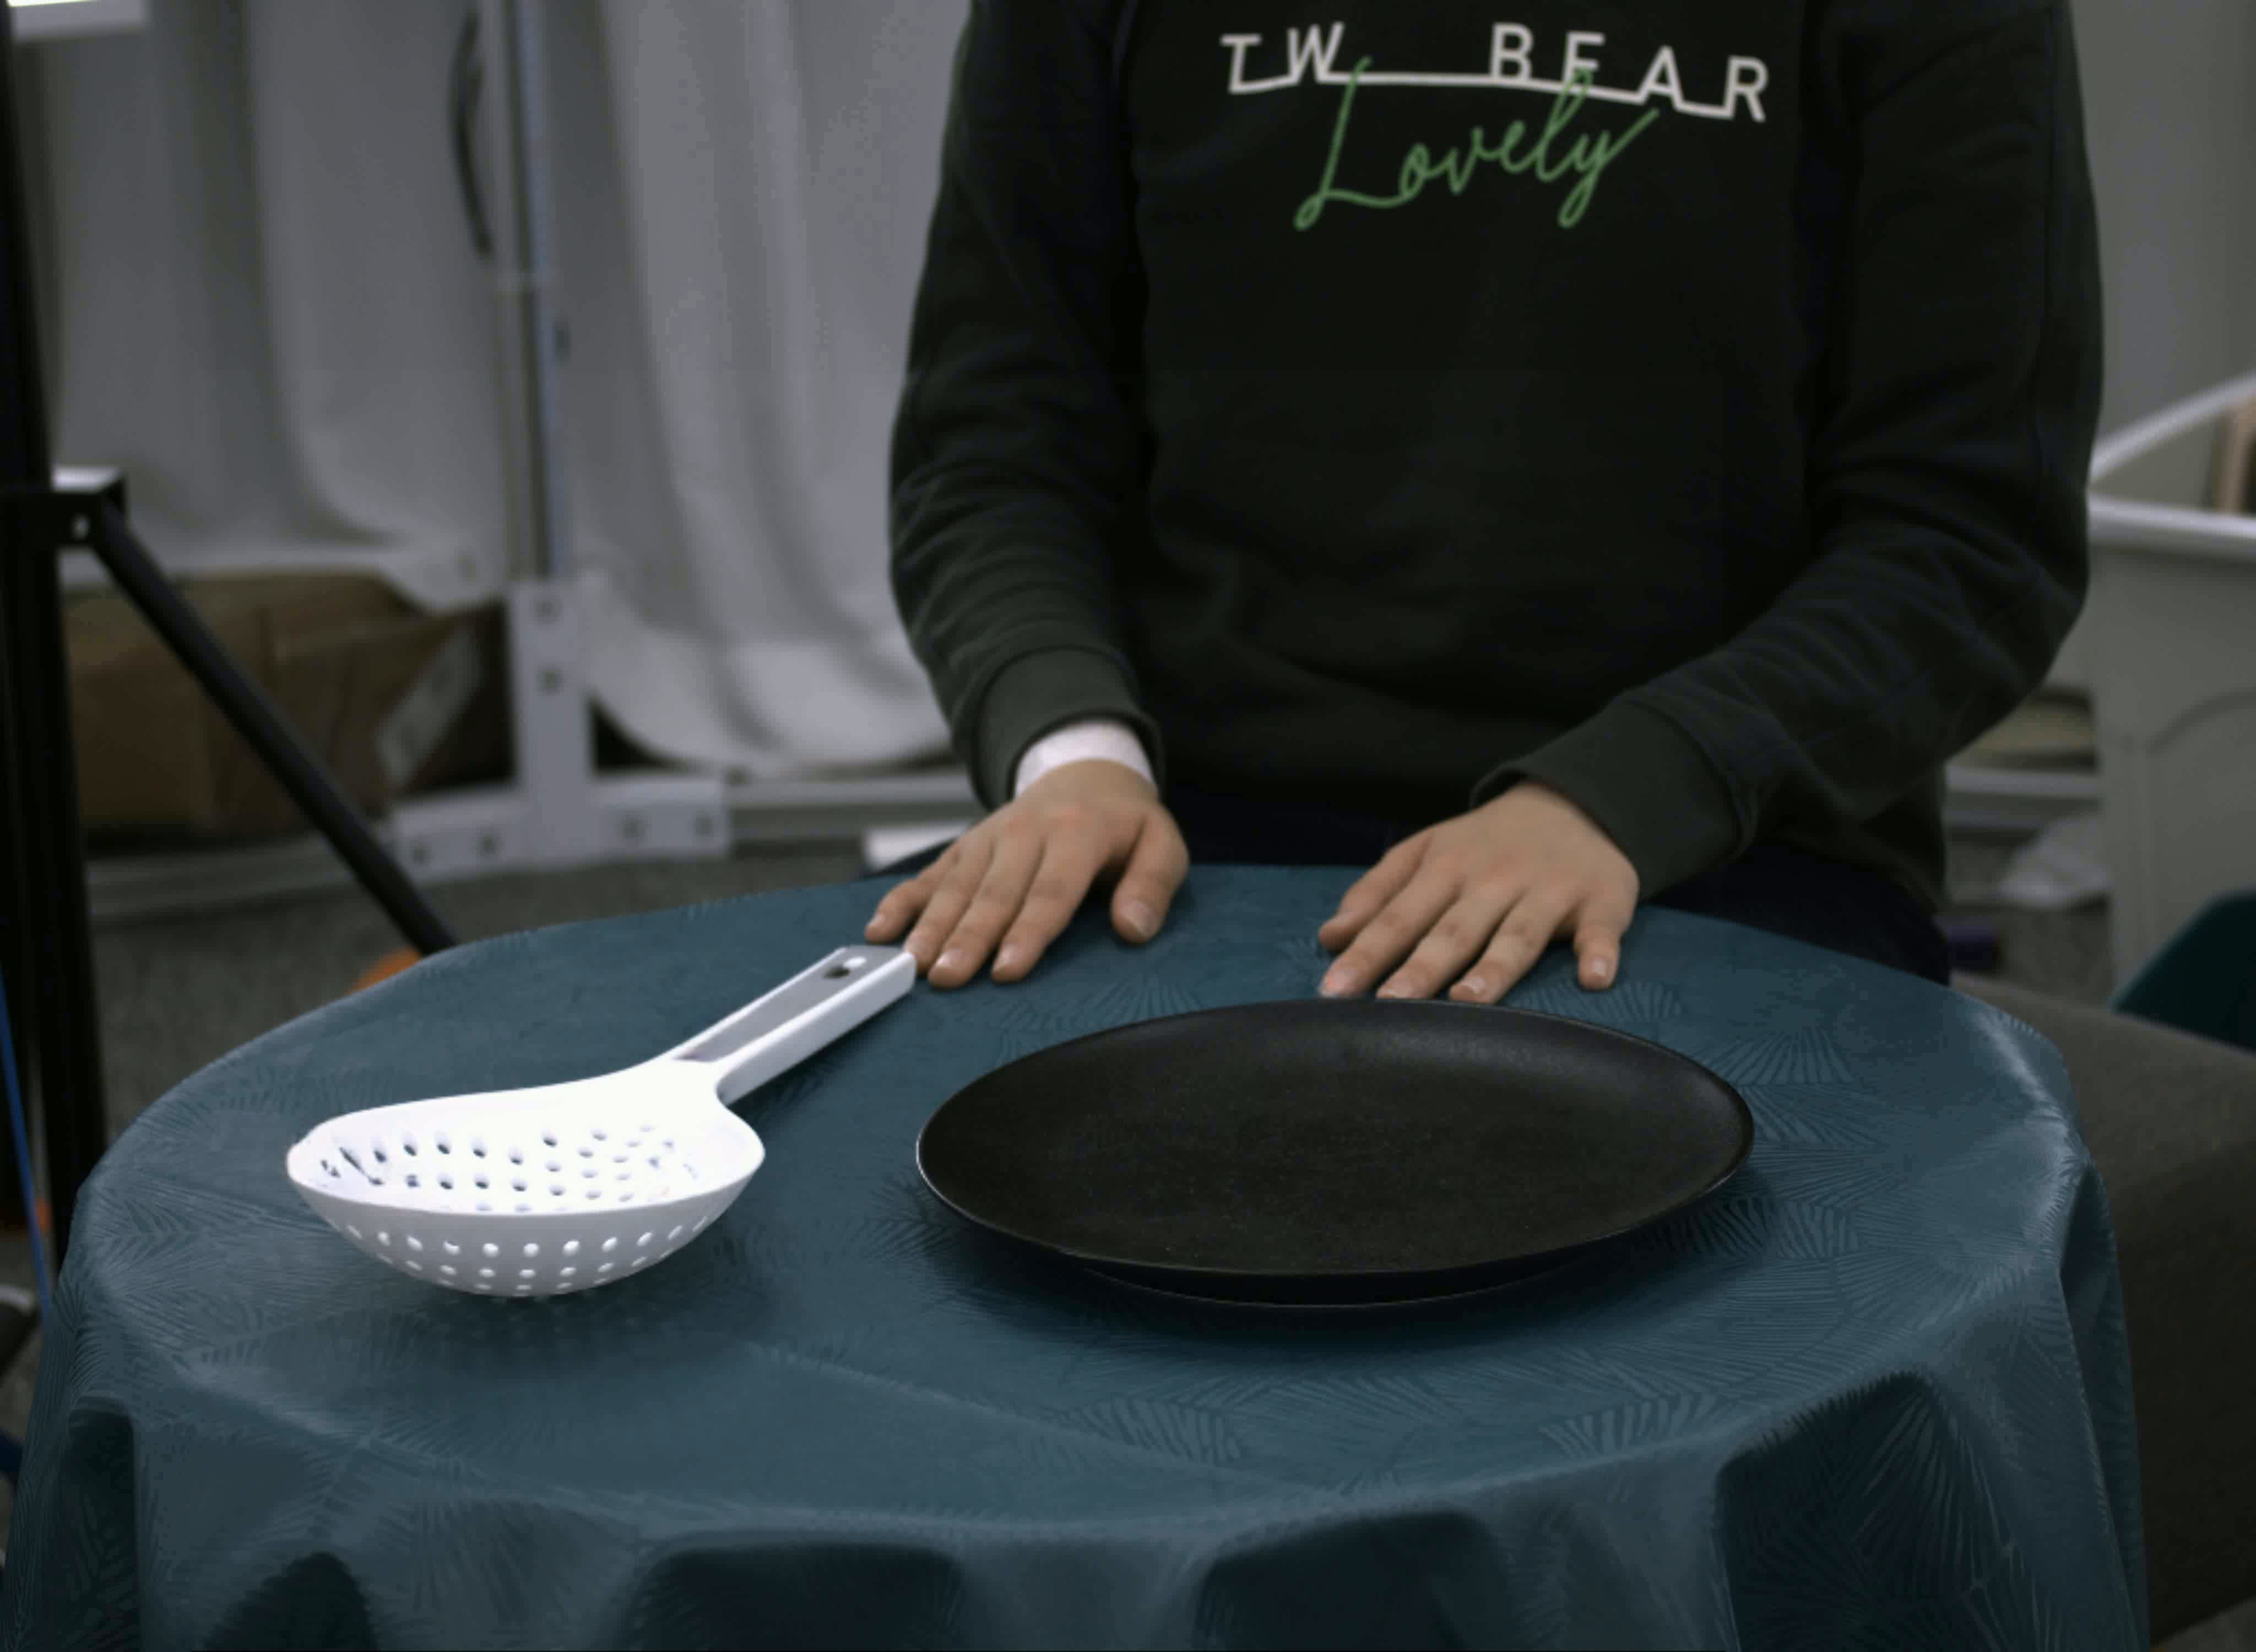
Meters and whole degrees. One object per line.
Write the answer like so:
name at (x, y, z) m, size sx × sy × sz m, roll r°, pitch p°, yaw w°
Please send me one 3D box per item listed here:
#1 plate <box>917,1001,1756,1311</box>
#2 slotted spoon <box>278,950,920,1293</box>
plate at (0.061, 0.098, 1.541) m, size 0.243 × 0.023 × 0.245 m, roll -3°, pitch 16°, yaw -1°
slotted spoon at (-0.136, 0.079, 1.600) m, size 0.137 × 0.046 × 0.346 m, roll 5°, pitch 16°, yaw 19°
